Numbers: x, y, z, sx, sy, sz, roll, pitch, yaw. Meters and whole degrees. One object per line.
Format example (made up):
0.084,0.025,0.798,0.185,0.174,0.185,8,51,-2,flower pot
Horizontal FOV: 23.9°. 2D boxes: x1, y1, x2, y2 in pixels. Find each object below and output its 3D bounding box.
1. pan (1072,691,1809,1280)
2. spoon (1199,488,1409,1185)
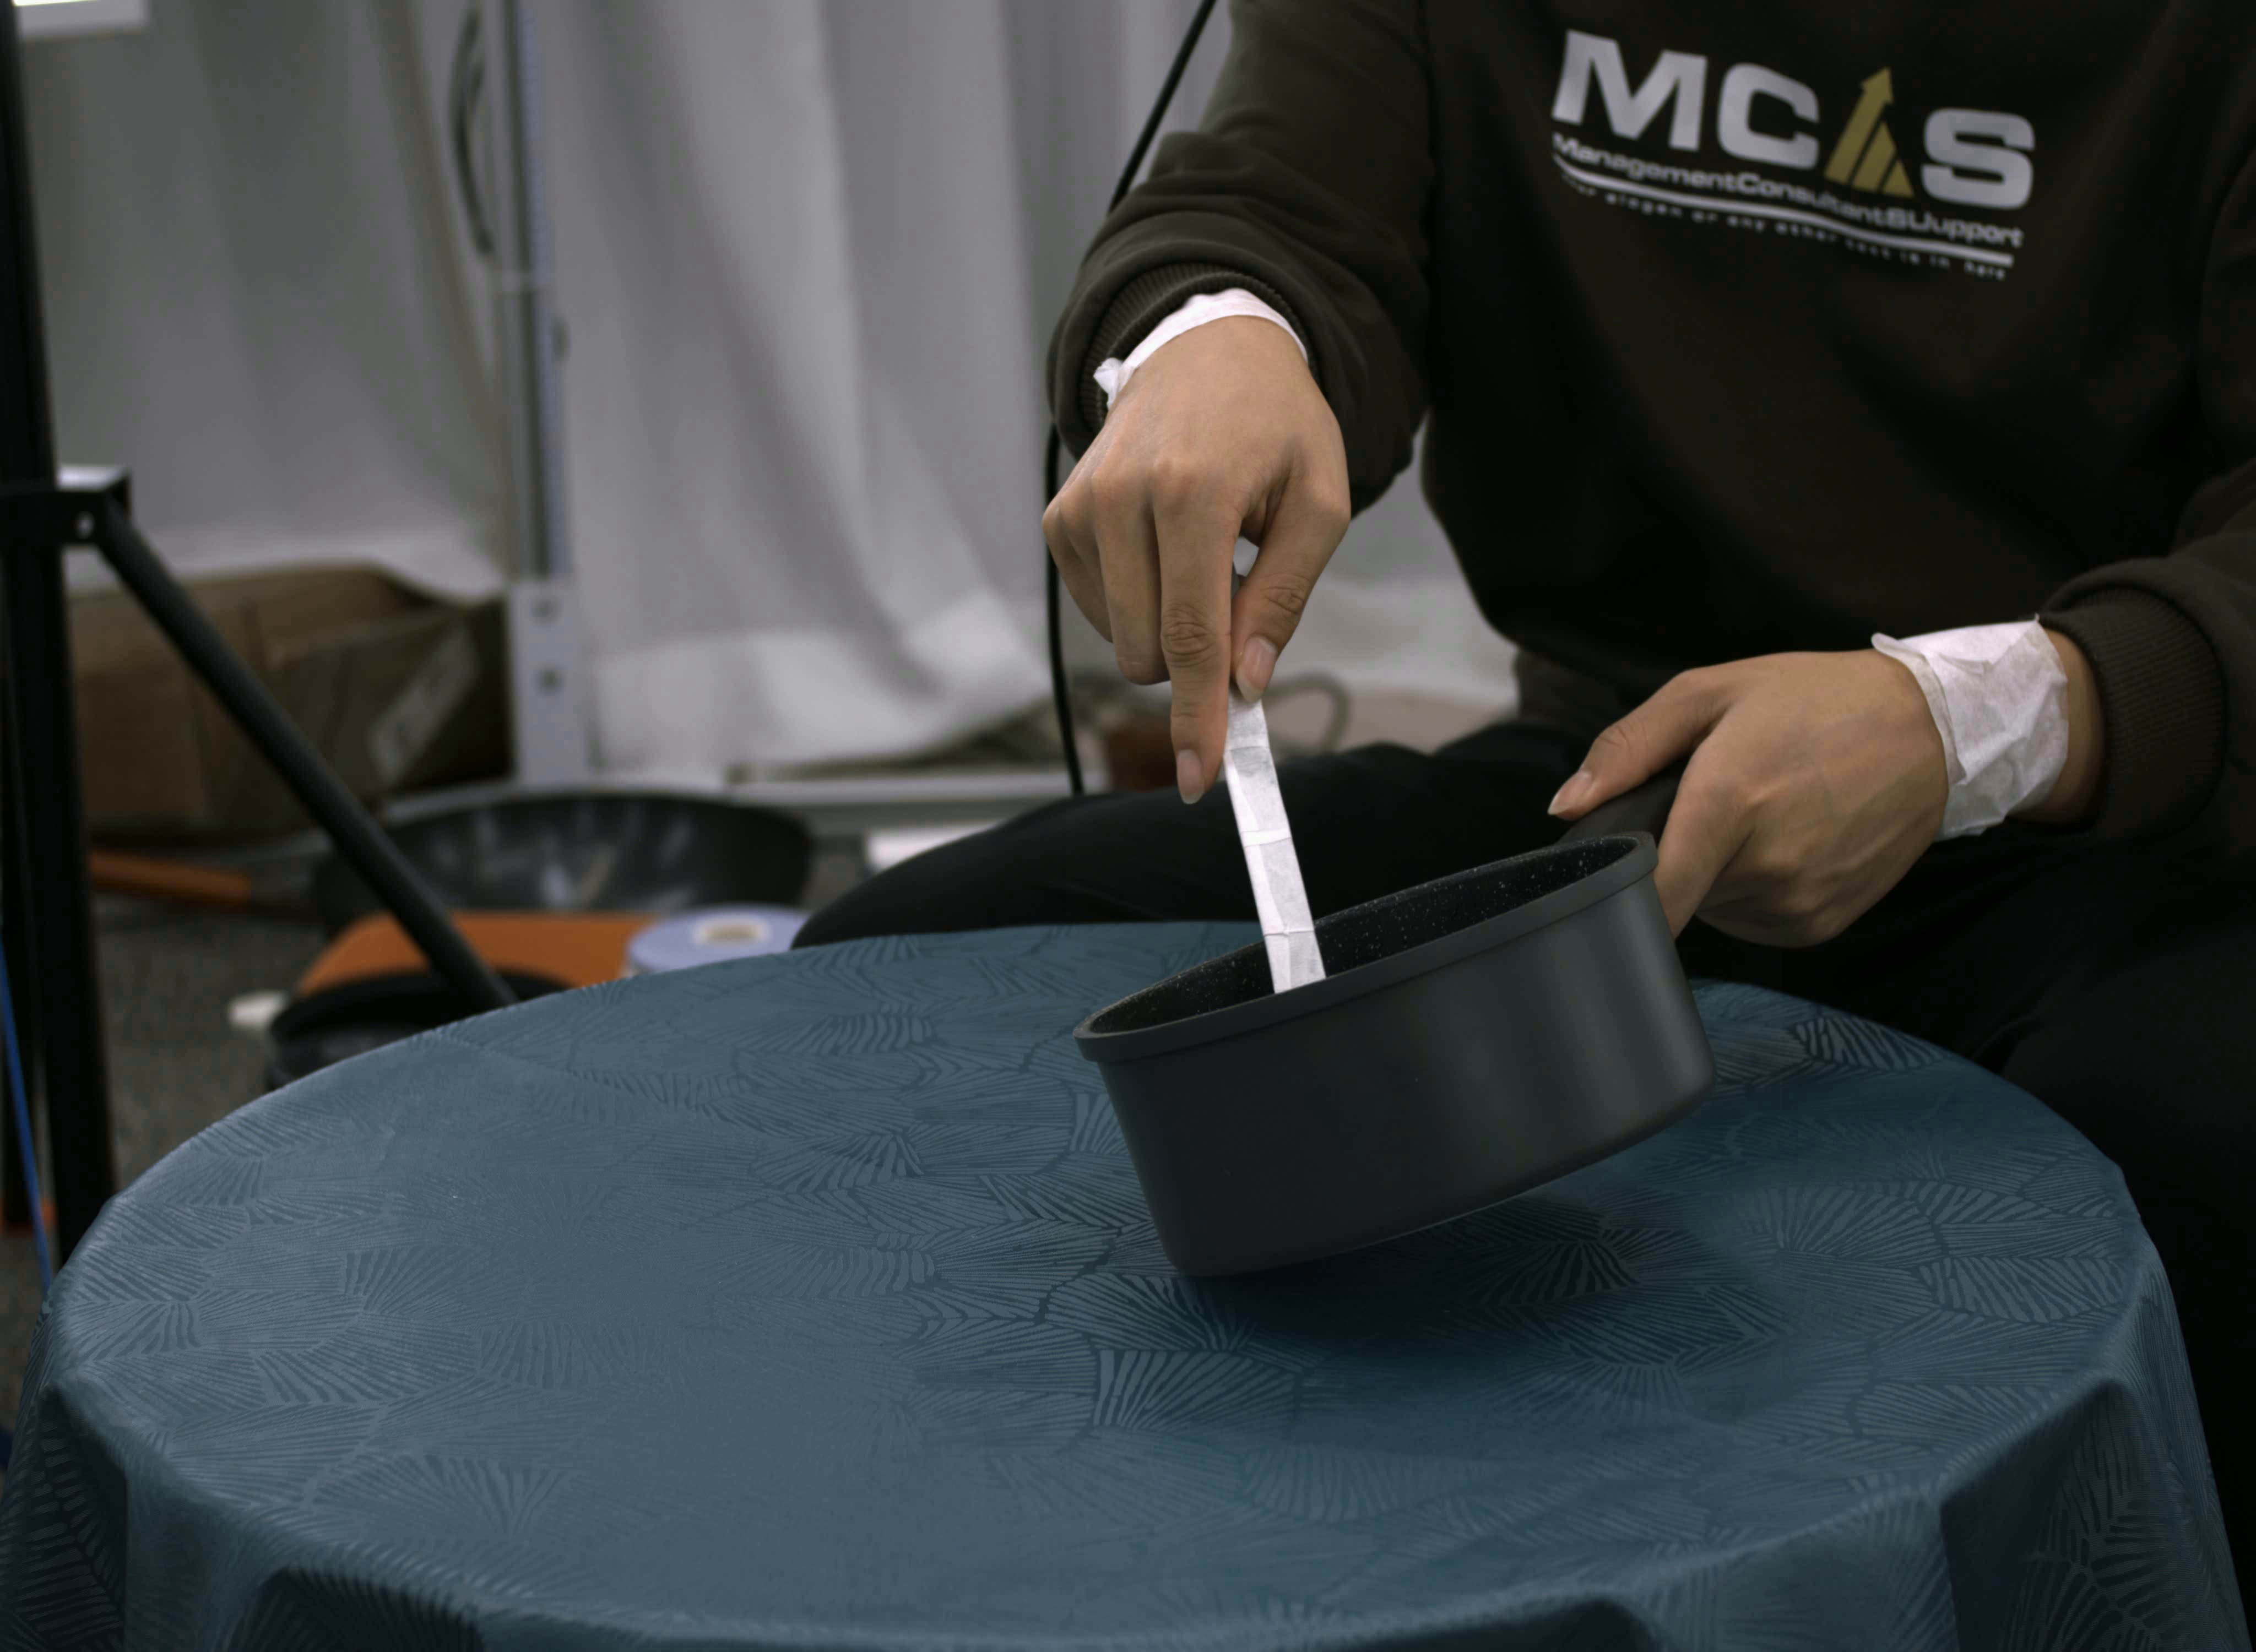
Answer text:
0.119,0.043,1.539,0.175,0.086,0.322,-15,6,38,pan
0.057,-0.003,1.516,0.099,0.059,0.281,3,53,-12,spoon
